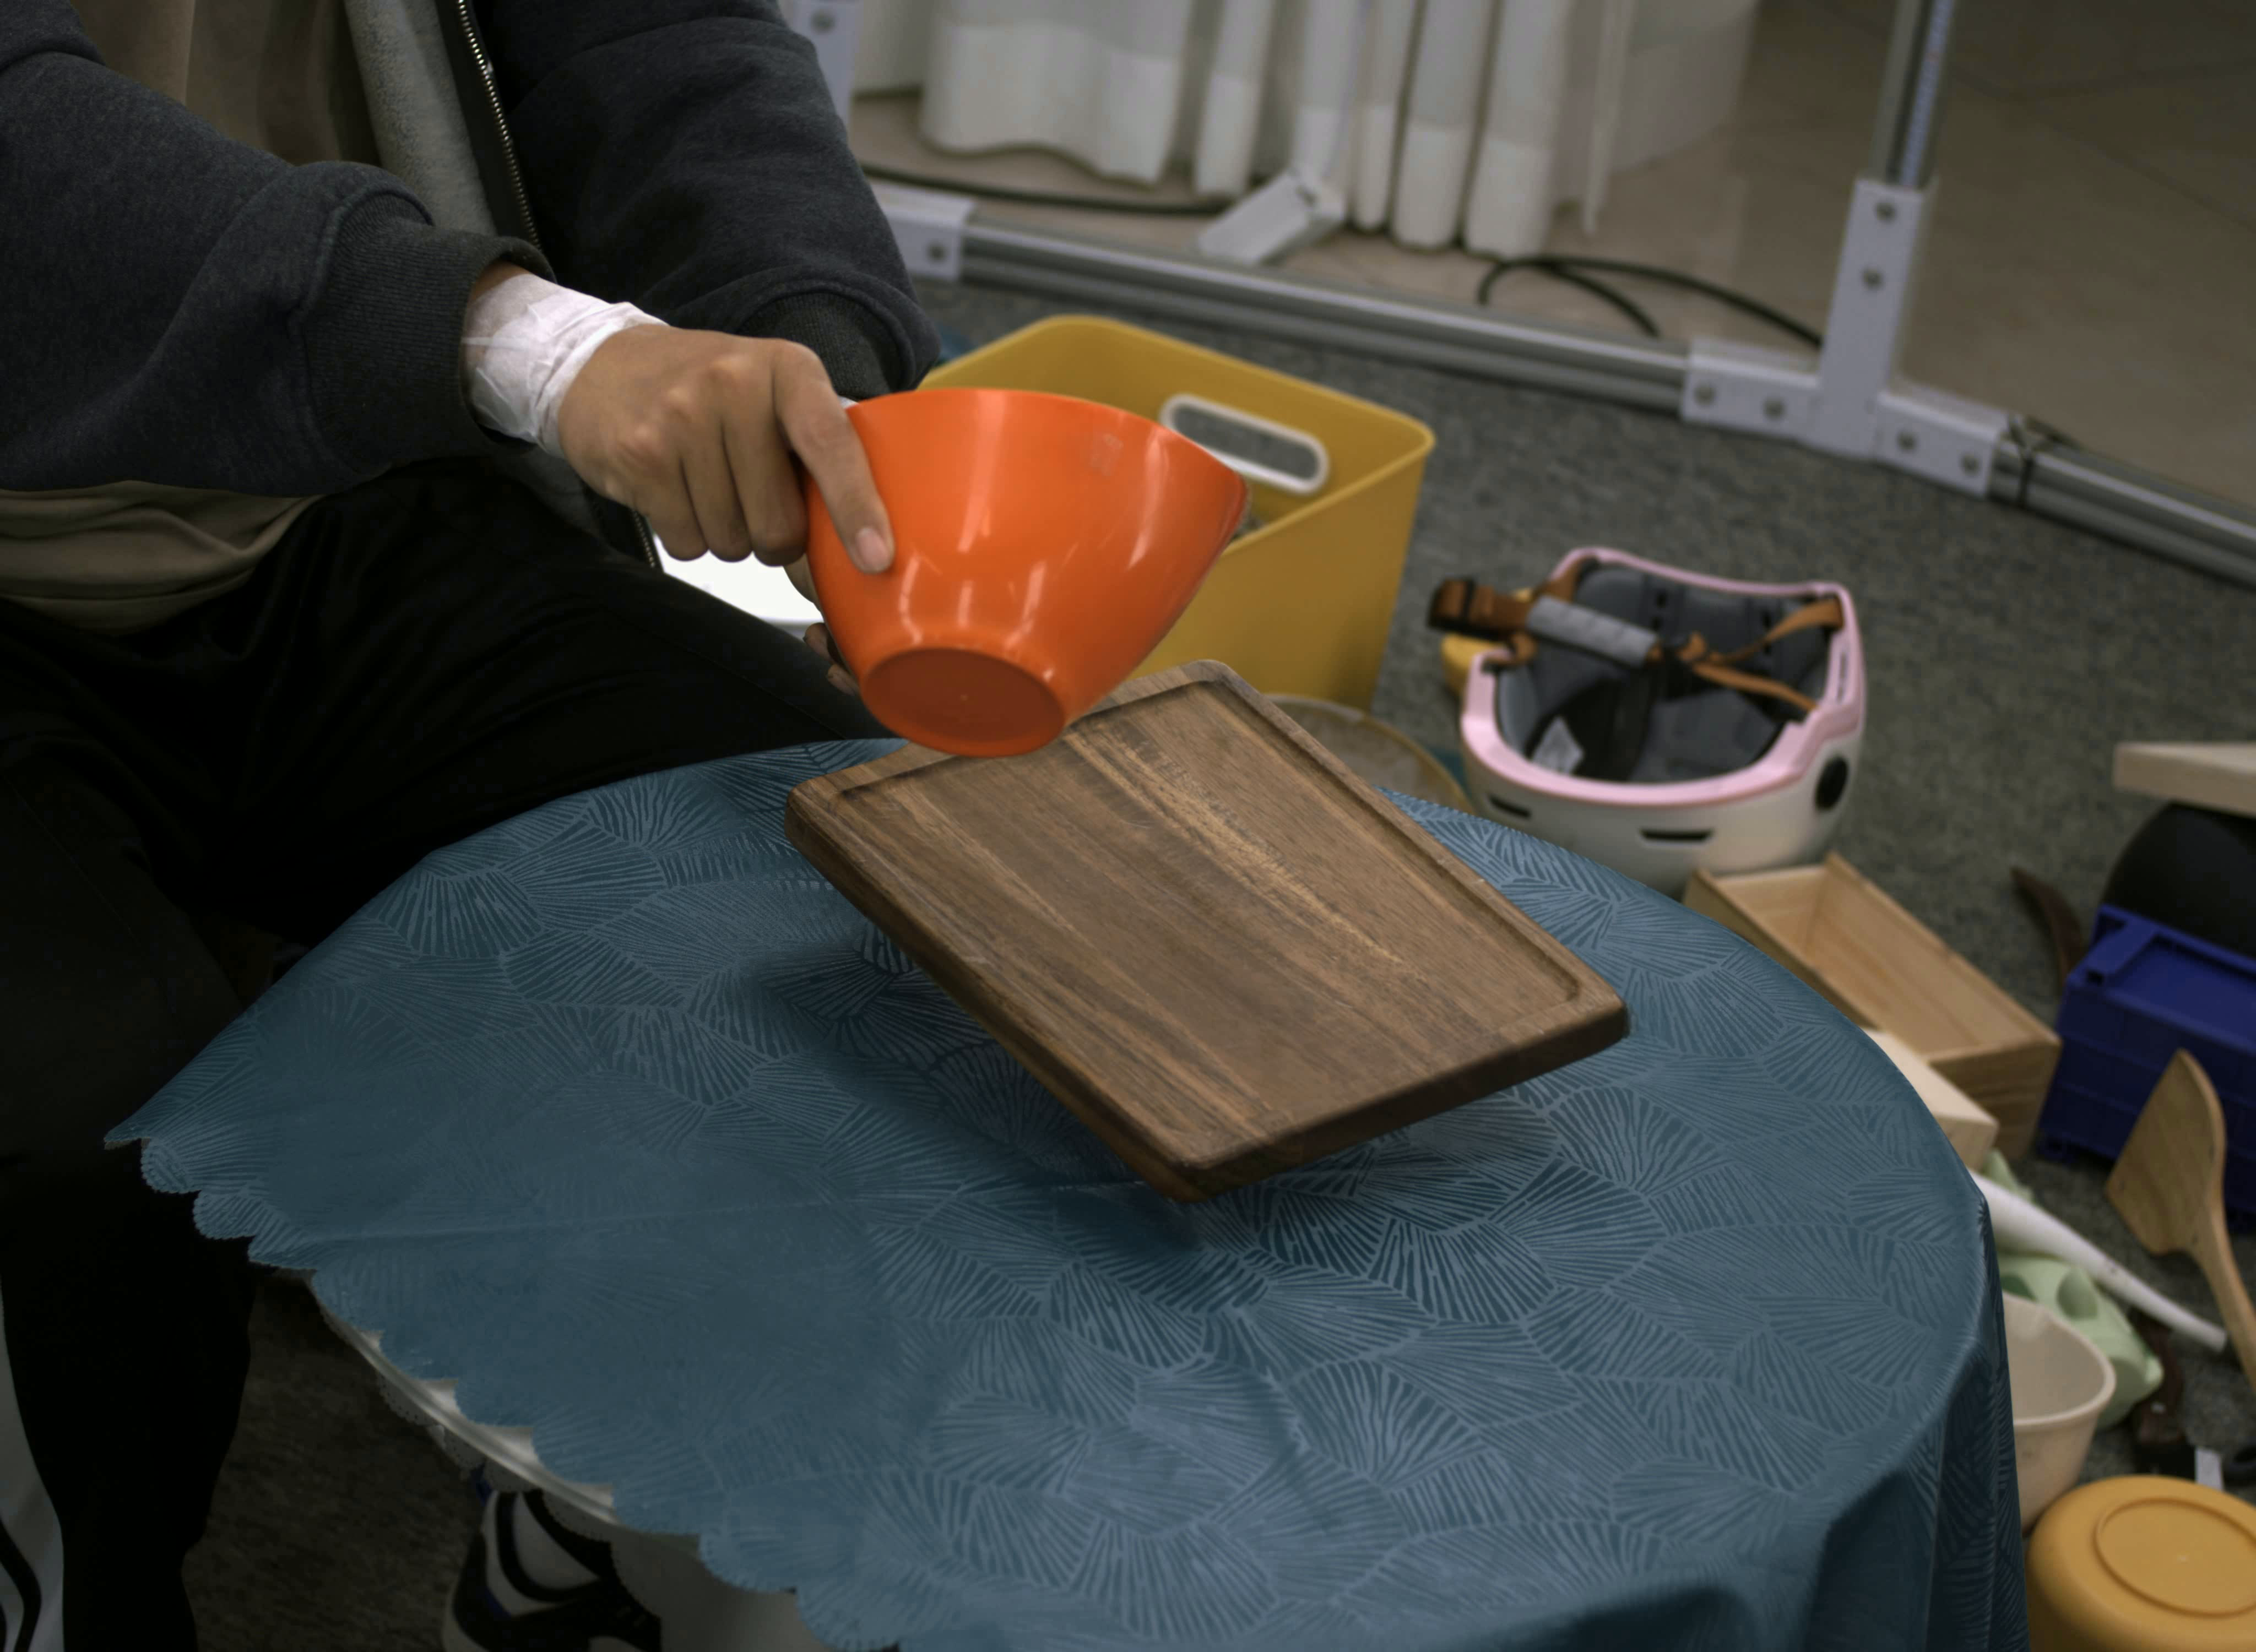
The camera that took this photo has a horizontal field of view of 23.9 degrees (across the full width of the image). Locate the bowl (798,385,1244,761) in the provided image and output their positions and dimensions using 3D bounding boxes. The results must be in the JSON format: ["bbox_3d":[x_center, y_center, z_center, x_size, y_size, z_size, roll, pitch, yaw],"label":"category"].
[{"bbox_3d":[-0.042,-0.076,1.728,0.148,0.147,0.105,9,60,3],"label":"bowl"}]

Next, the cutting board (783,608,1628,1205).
[{"bbox_3d":[-0.003,0.006,1.909,0.200,0.023,0.355,-18,41,-31],"label":"cutting board"}]
